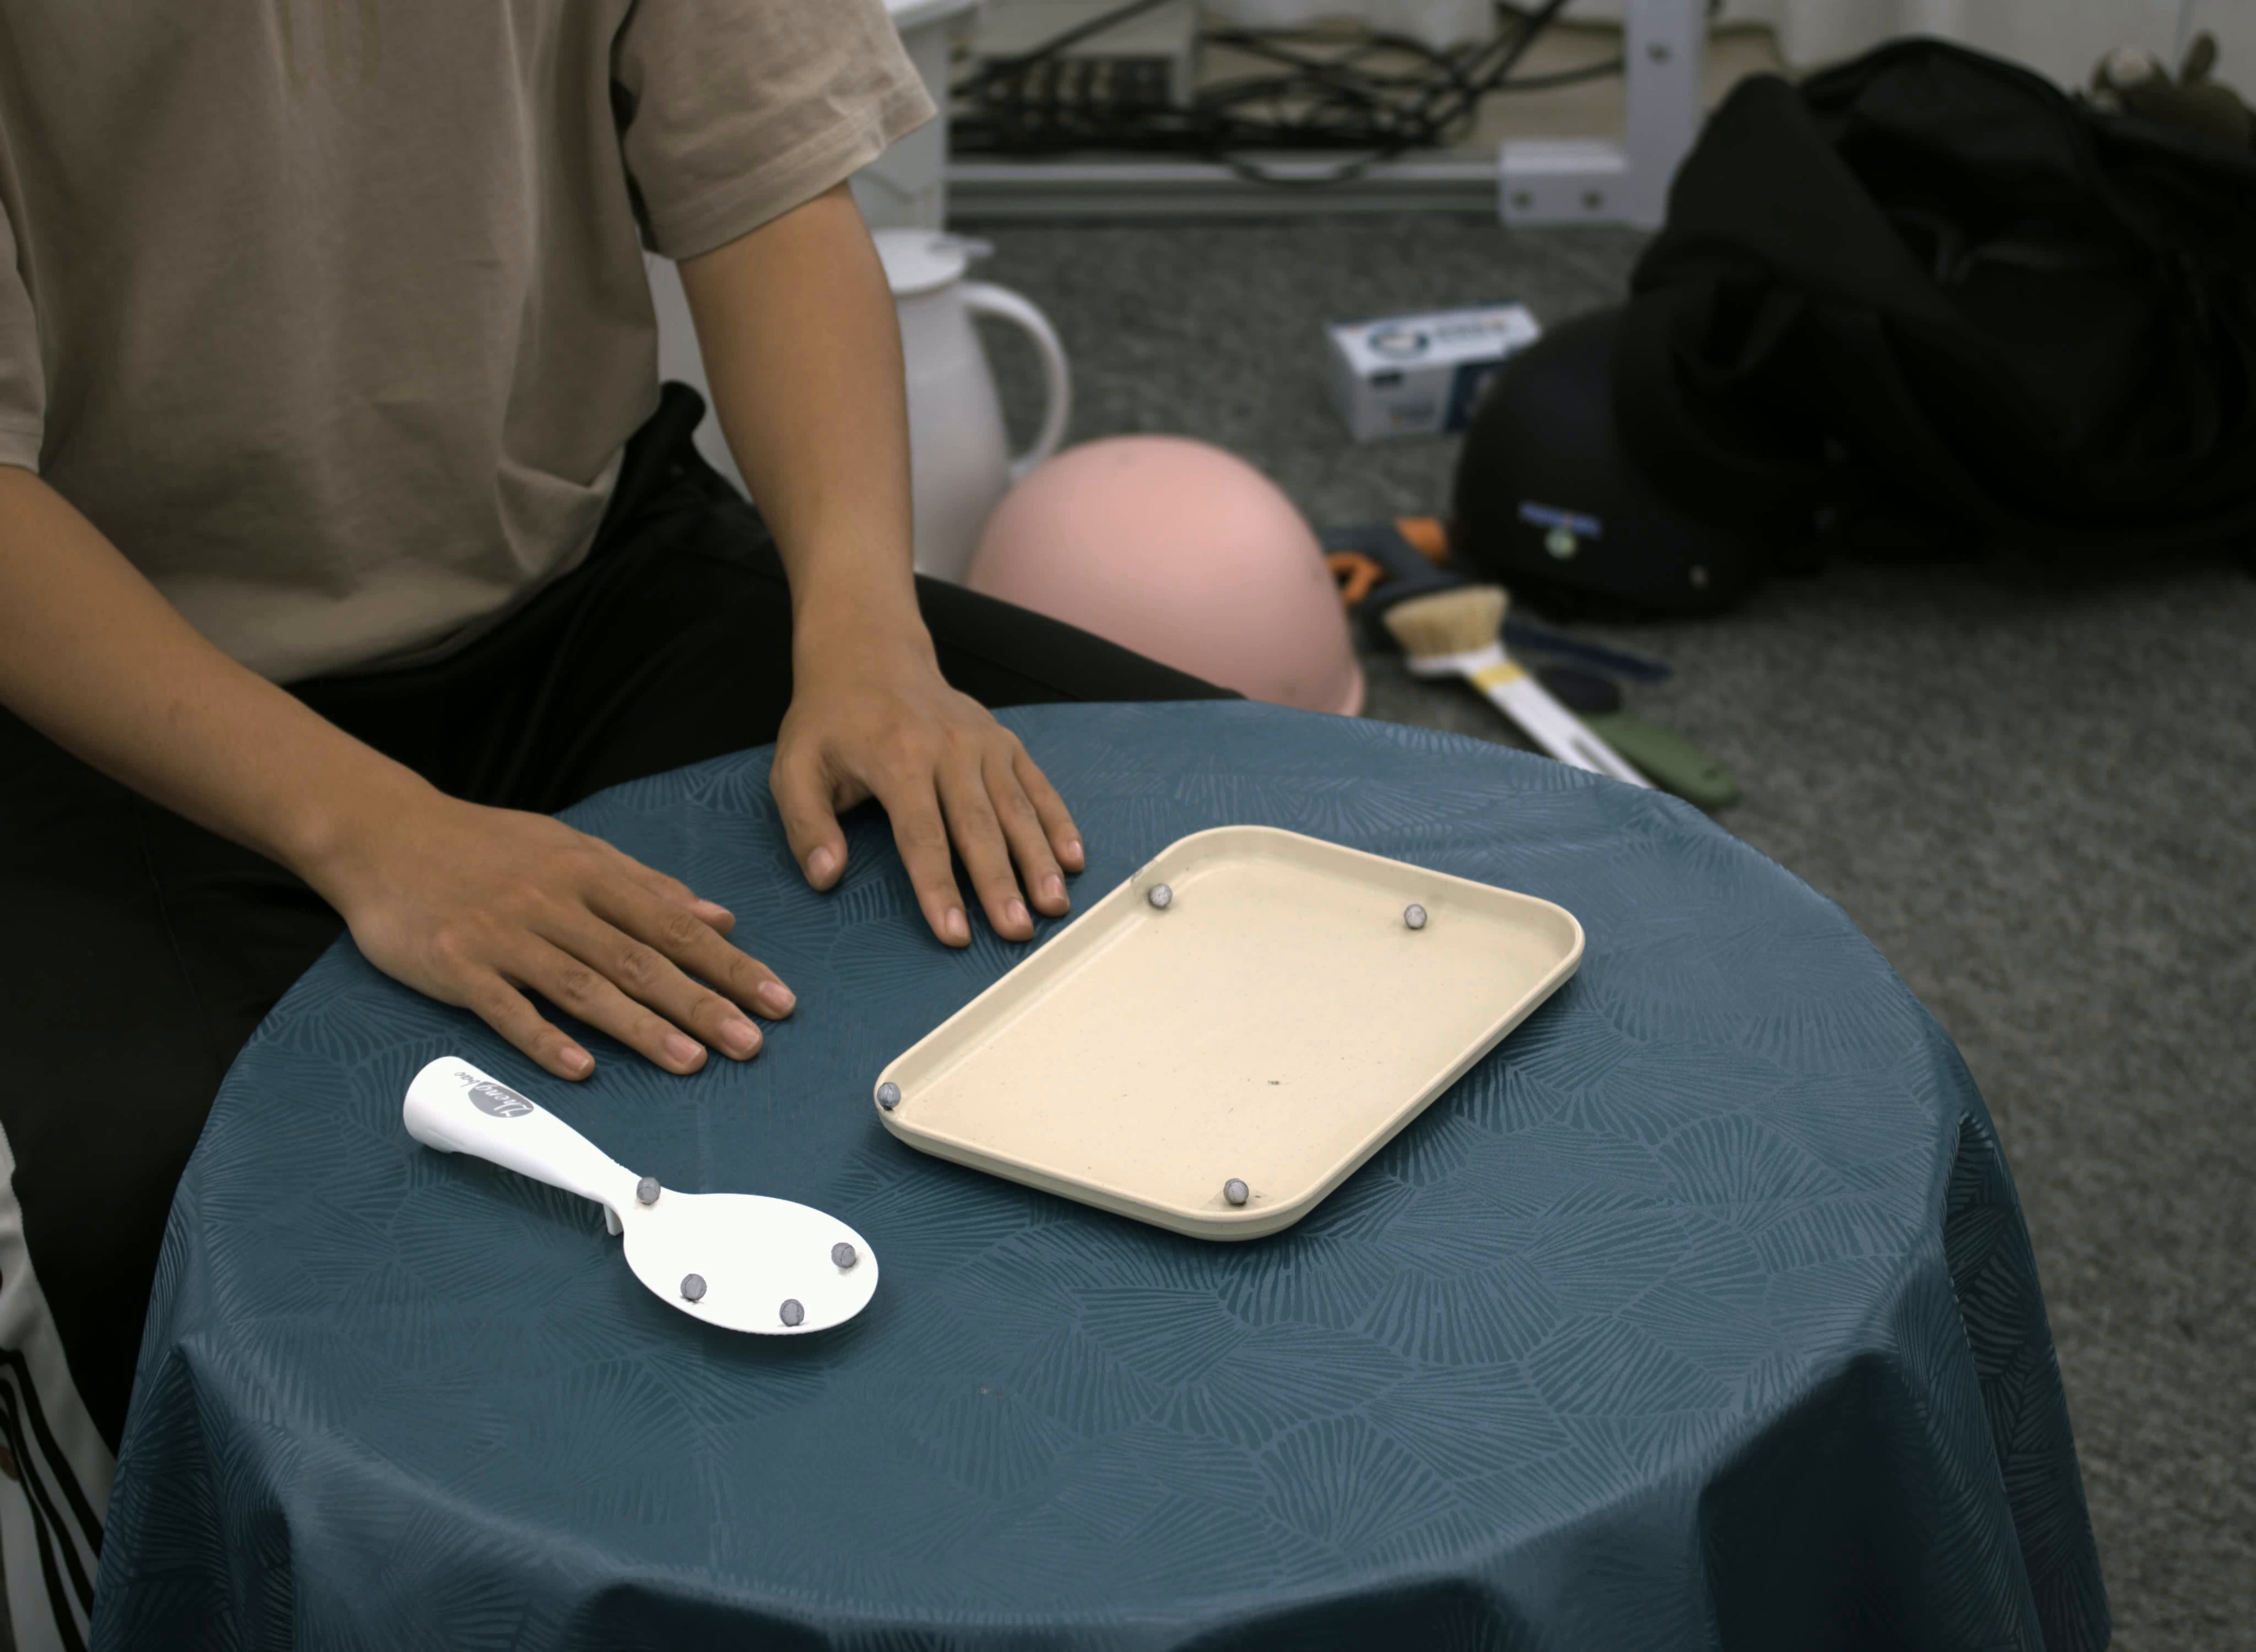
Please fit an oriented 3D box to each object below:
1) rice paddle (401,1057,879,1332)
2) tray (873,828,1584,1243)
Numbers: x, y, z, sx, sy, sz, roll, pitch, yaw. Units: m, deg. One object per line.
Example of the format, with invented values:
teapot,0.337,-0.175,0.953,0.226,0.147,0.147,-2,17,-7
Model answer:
rice paddle,-0.161,0.122,1.841,0.205,0.029,0.069,22,37,39
tray,0.037,0.071,1.938,0.170,0.017,0.243,15,32,29
